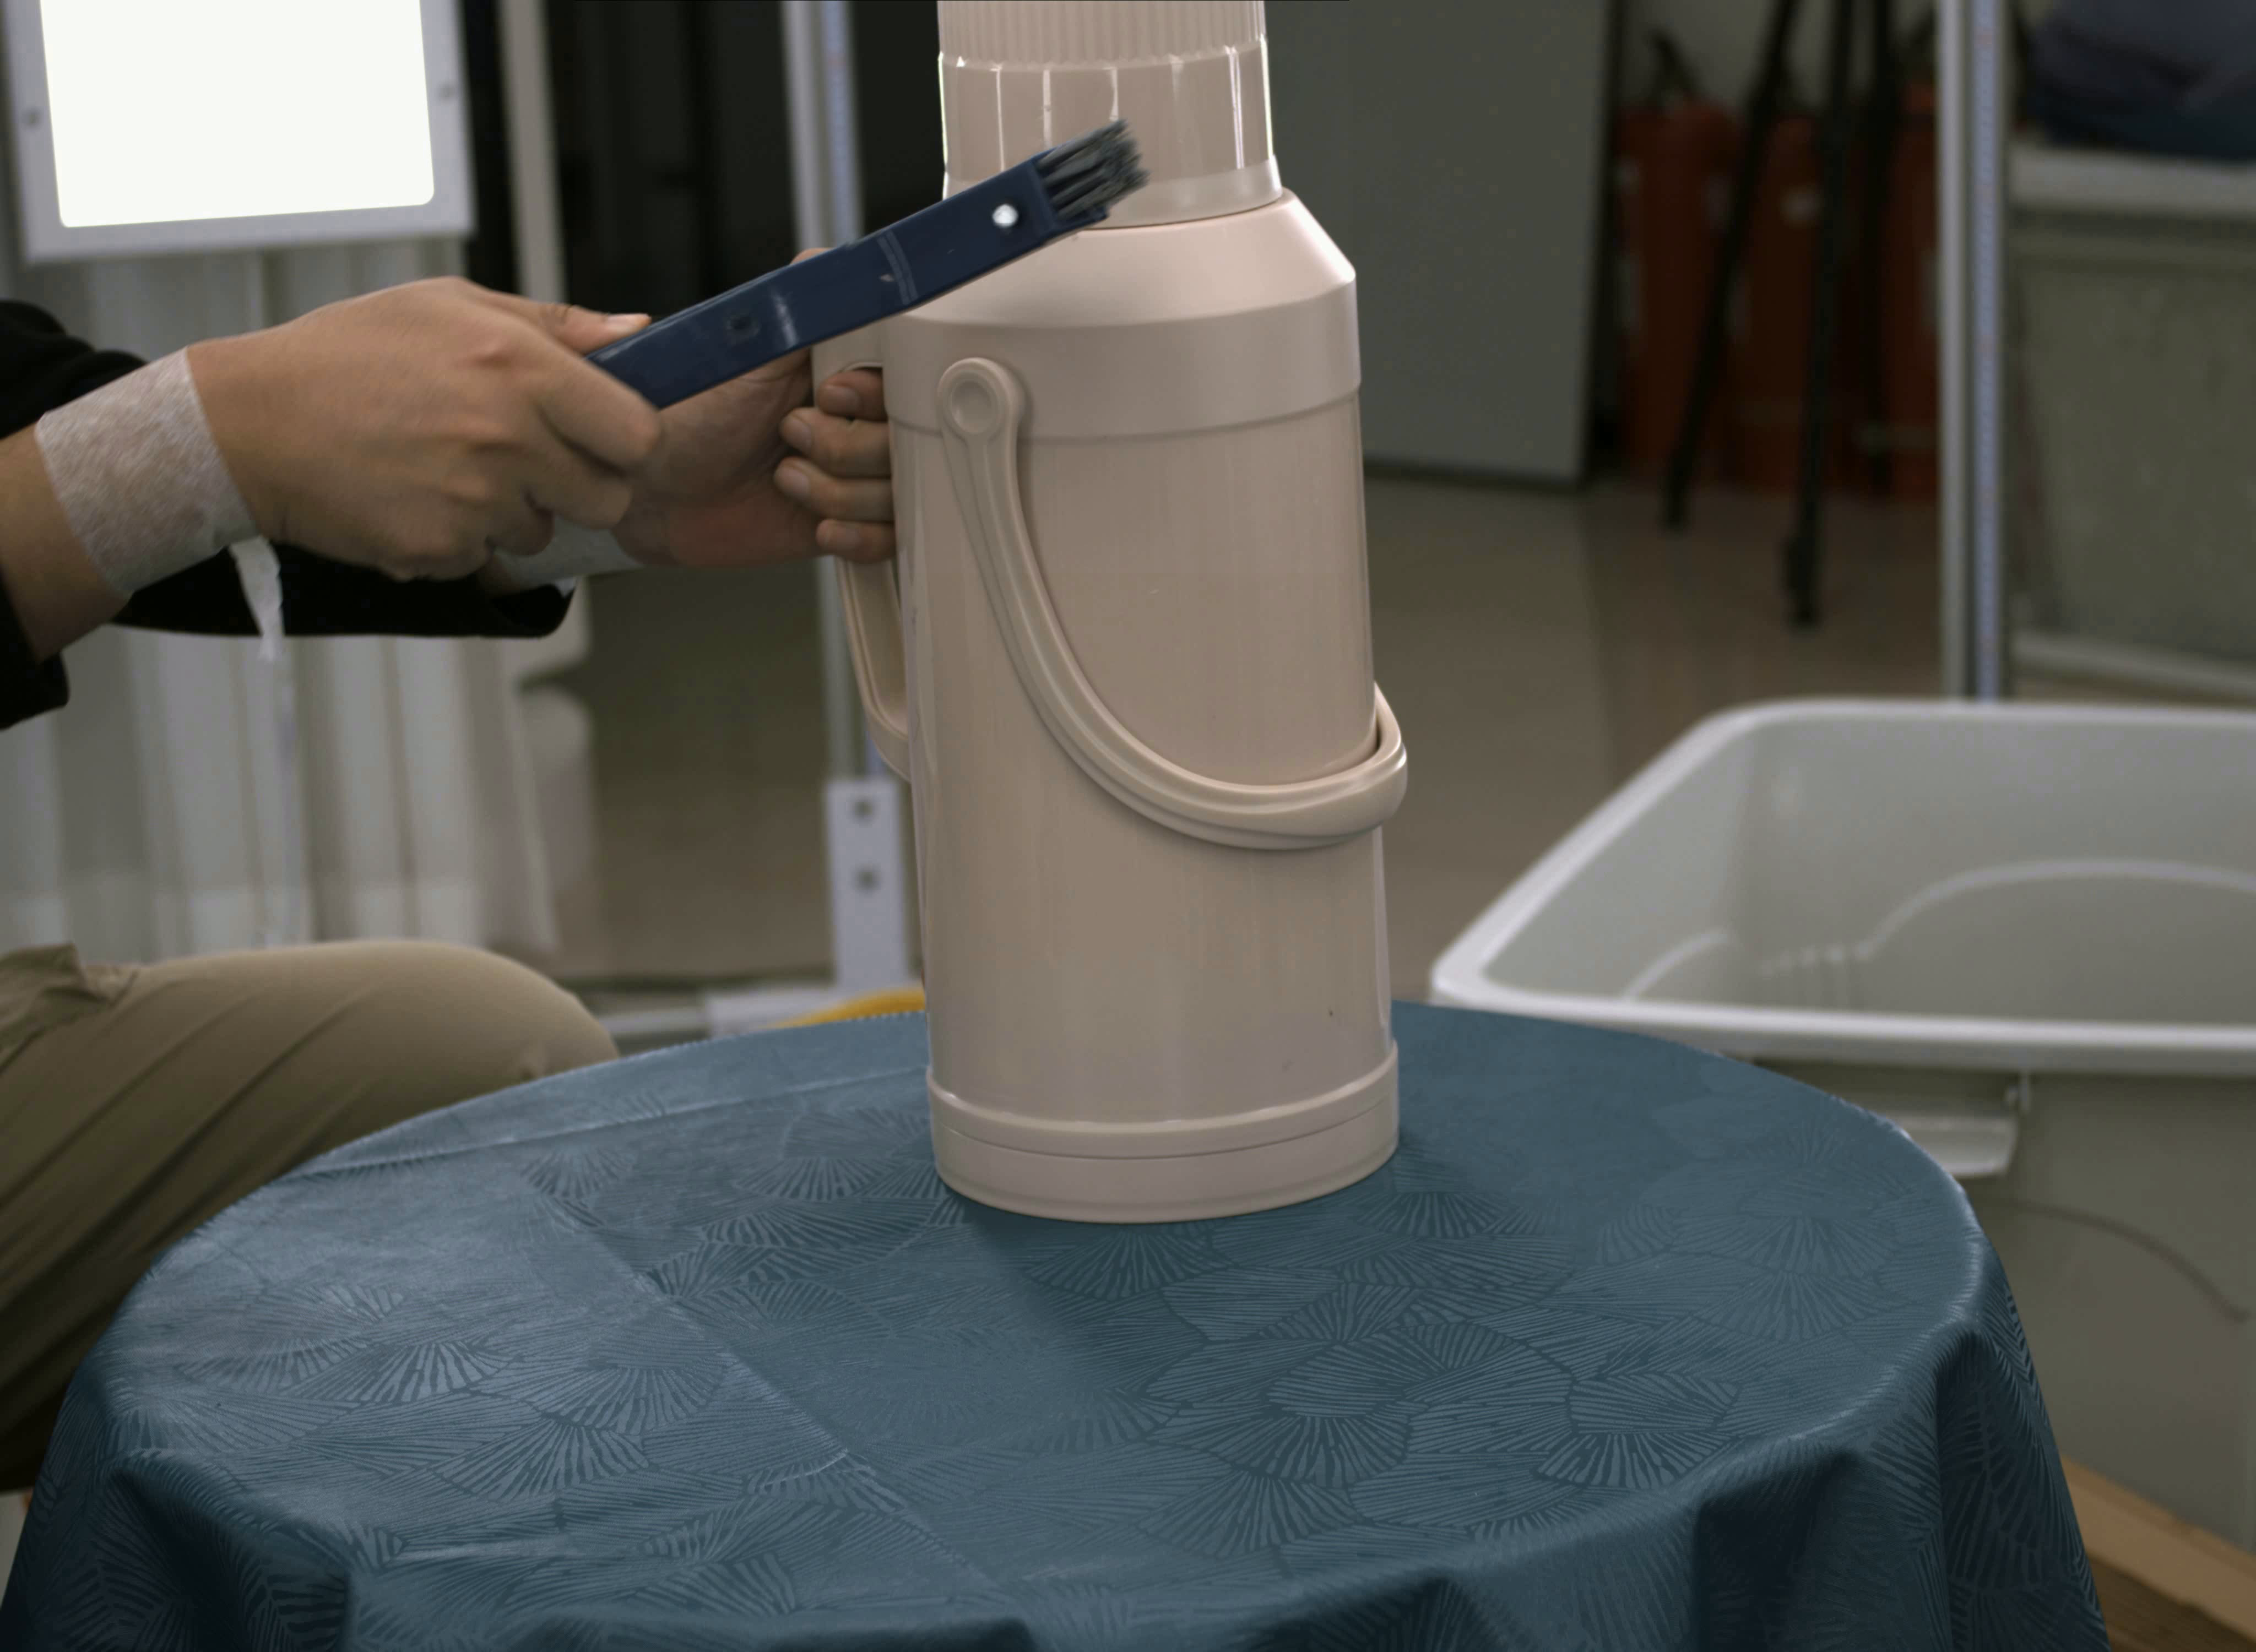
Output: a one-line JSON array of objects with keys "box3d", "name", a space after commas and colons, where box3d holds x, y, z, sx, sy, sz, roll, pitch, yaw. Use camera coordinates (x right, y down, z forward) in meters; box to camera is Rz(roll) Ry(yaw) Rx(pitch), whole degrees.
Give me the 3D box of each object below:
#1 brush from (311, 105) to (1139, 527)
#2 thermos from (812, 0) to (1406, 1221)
[{"box3d": [-0.124, -0.155, 1.629, 0.271, 0.034, 0.095, -22, 0, 7], "name": "brush"}, {"box3d": [-0.009, -0.086, 1.777, 0.208, 0.410, 0.172, 5, 17, 33], "name": "thermos"}]
